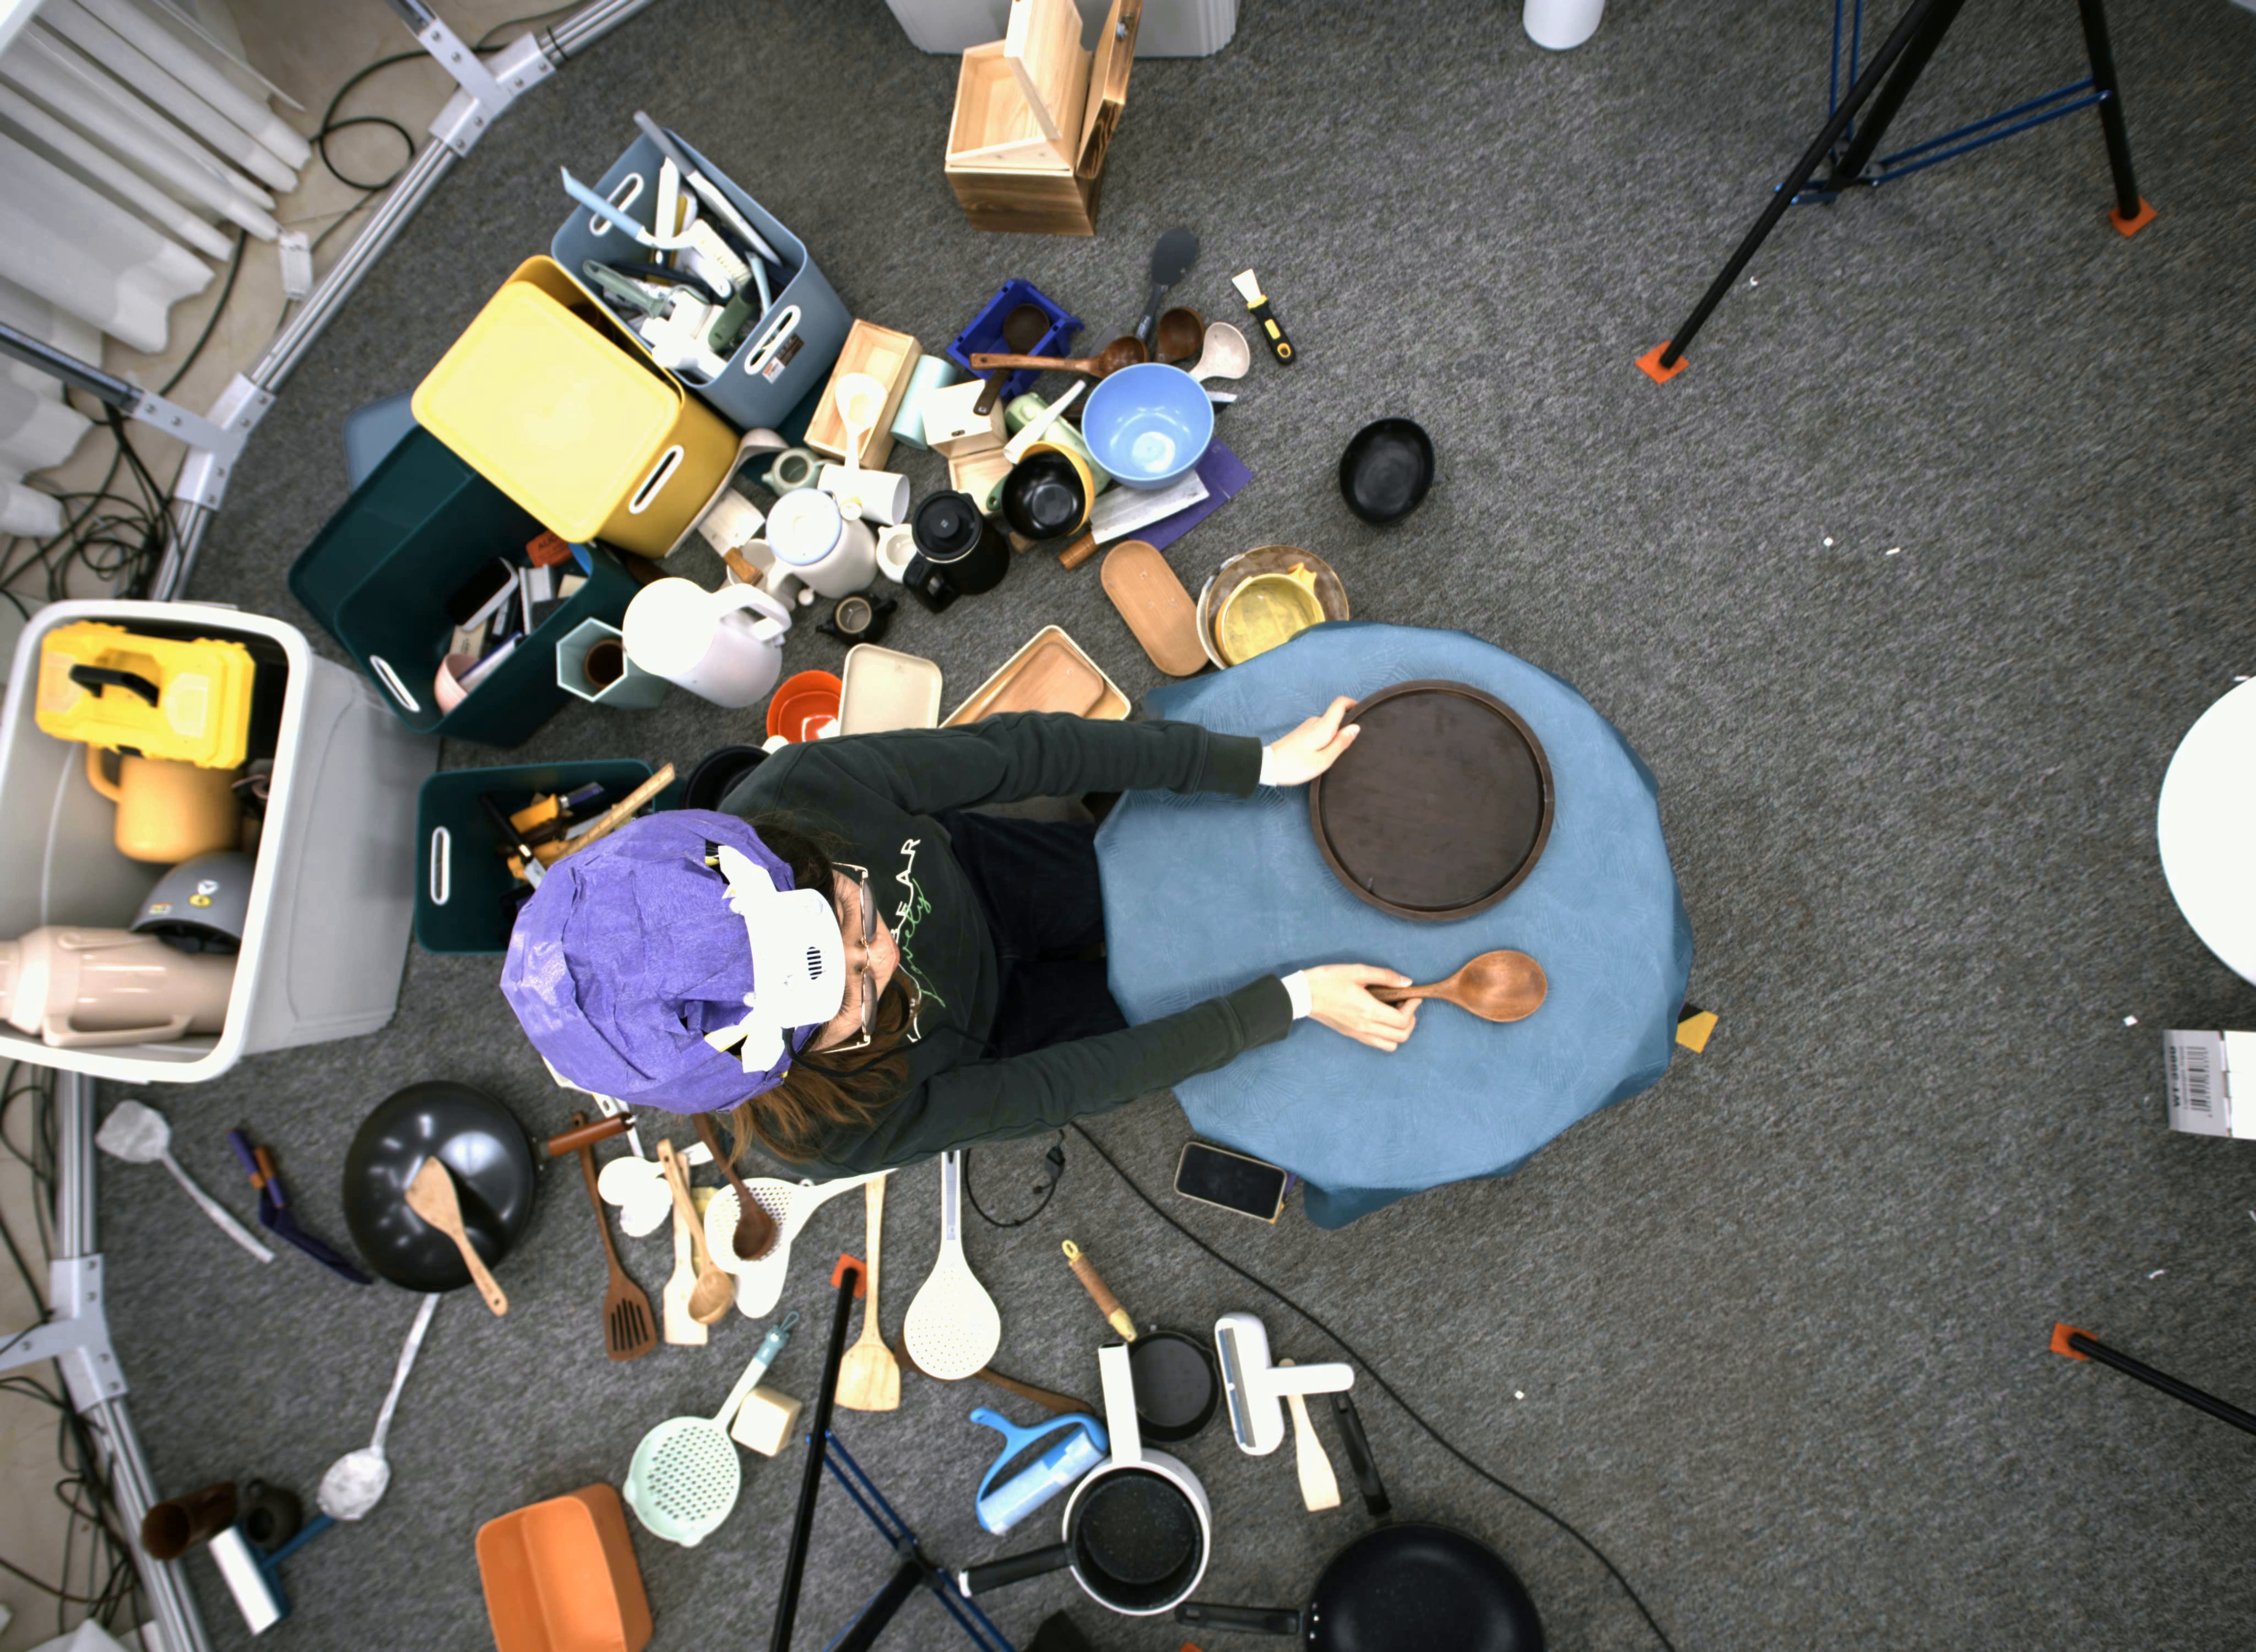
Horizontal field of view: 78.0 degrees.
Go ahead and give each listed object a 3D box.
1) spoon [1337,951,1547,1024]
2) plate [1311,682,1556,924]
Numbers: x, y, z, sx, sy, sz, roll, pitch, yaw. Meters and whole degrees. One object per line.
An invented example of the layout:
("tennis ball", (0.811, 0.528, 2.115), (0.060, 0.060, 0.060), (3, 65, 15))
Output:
("spoon", (0.326, 0.172, 1.437), (0.217, 0.017, 0.075), (-6, 85, 8))
("plate", (0.317, -0.025, 1.437), (0.255, 0.029, 0.255), (0, 91, 6))
